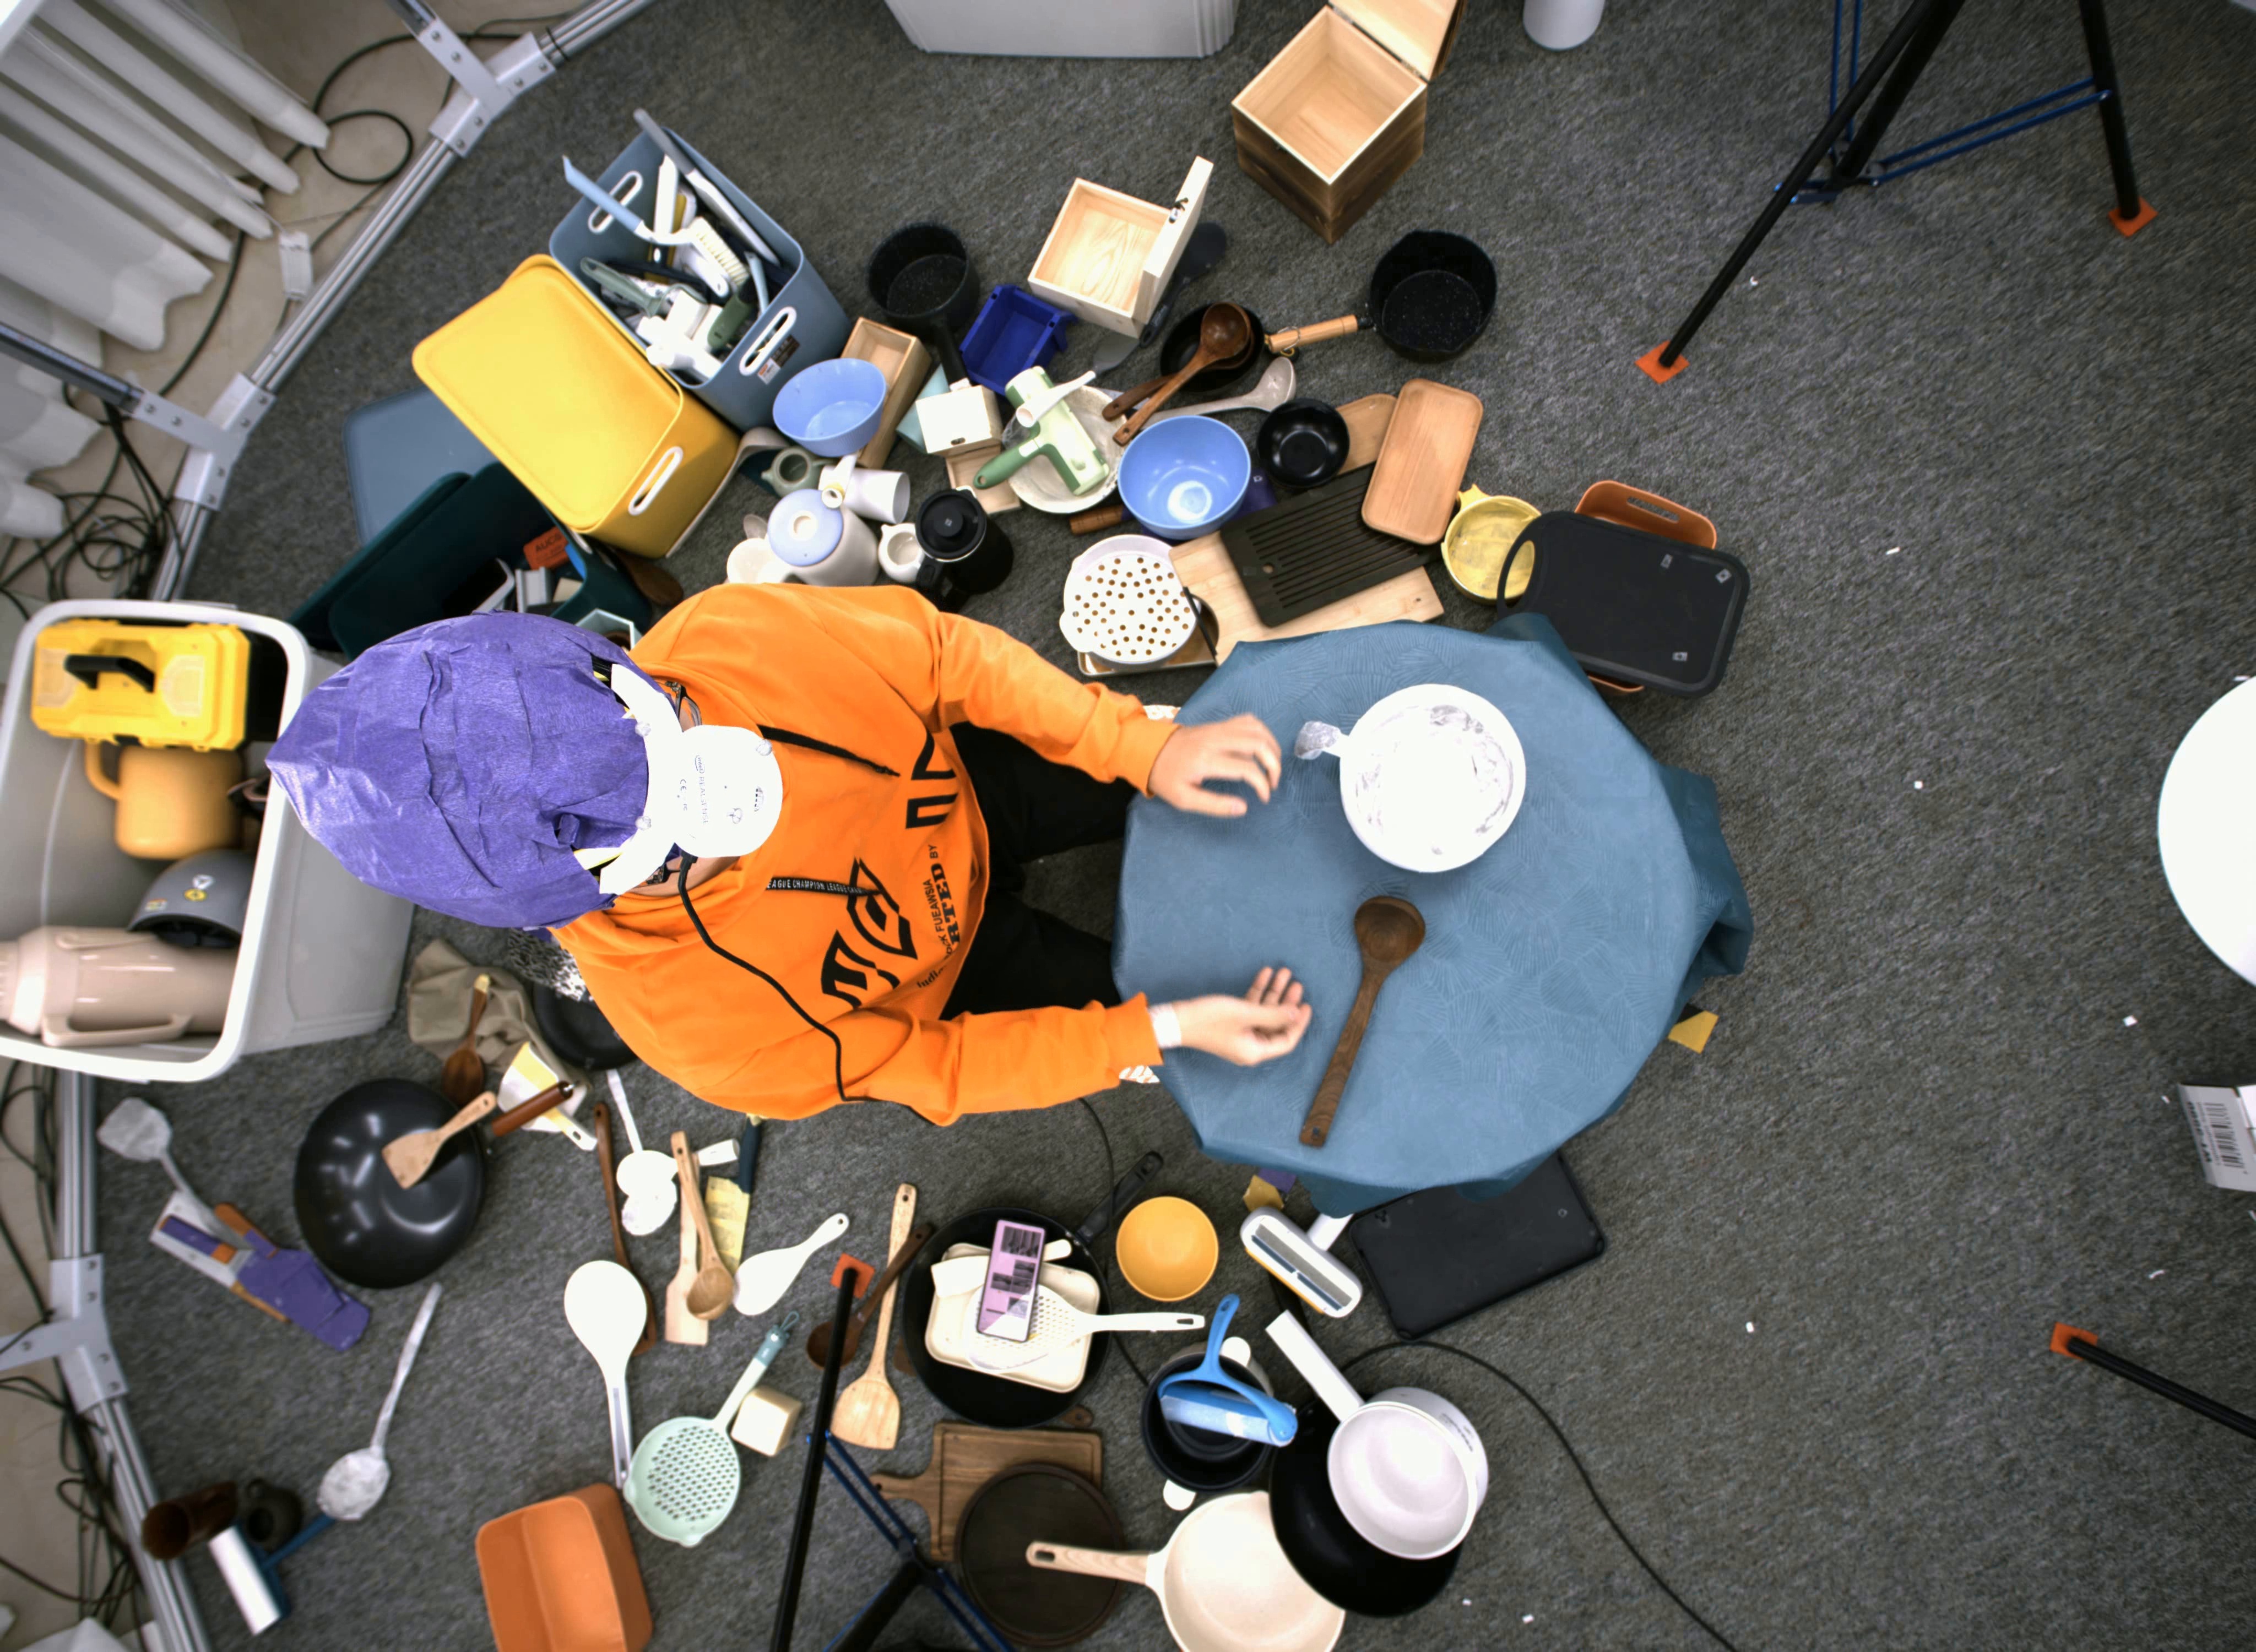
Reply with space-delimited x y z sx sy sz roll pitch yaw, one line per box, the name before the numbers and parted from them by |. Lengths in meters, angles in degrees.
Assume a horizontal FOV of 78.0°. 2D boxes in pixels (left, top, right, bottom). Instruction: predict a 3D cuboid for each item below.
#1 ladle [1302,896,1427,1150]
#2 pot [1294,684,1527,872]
ladle | 0.233 0.203 1.424 0.076 0.071 0.274 21 90 19
pot | 0.279 -0.054 1.396 0.234 0.137 0.178 20 89 11
